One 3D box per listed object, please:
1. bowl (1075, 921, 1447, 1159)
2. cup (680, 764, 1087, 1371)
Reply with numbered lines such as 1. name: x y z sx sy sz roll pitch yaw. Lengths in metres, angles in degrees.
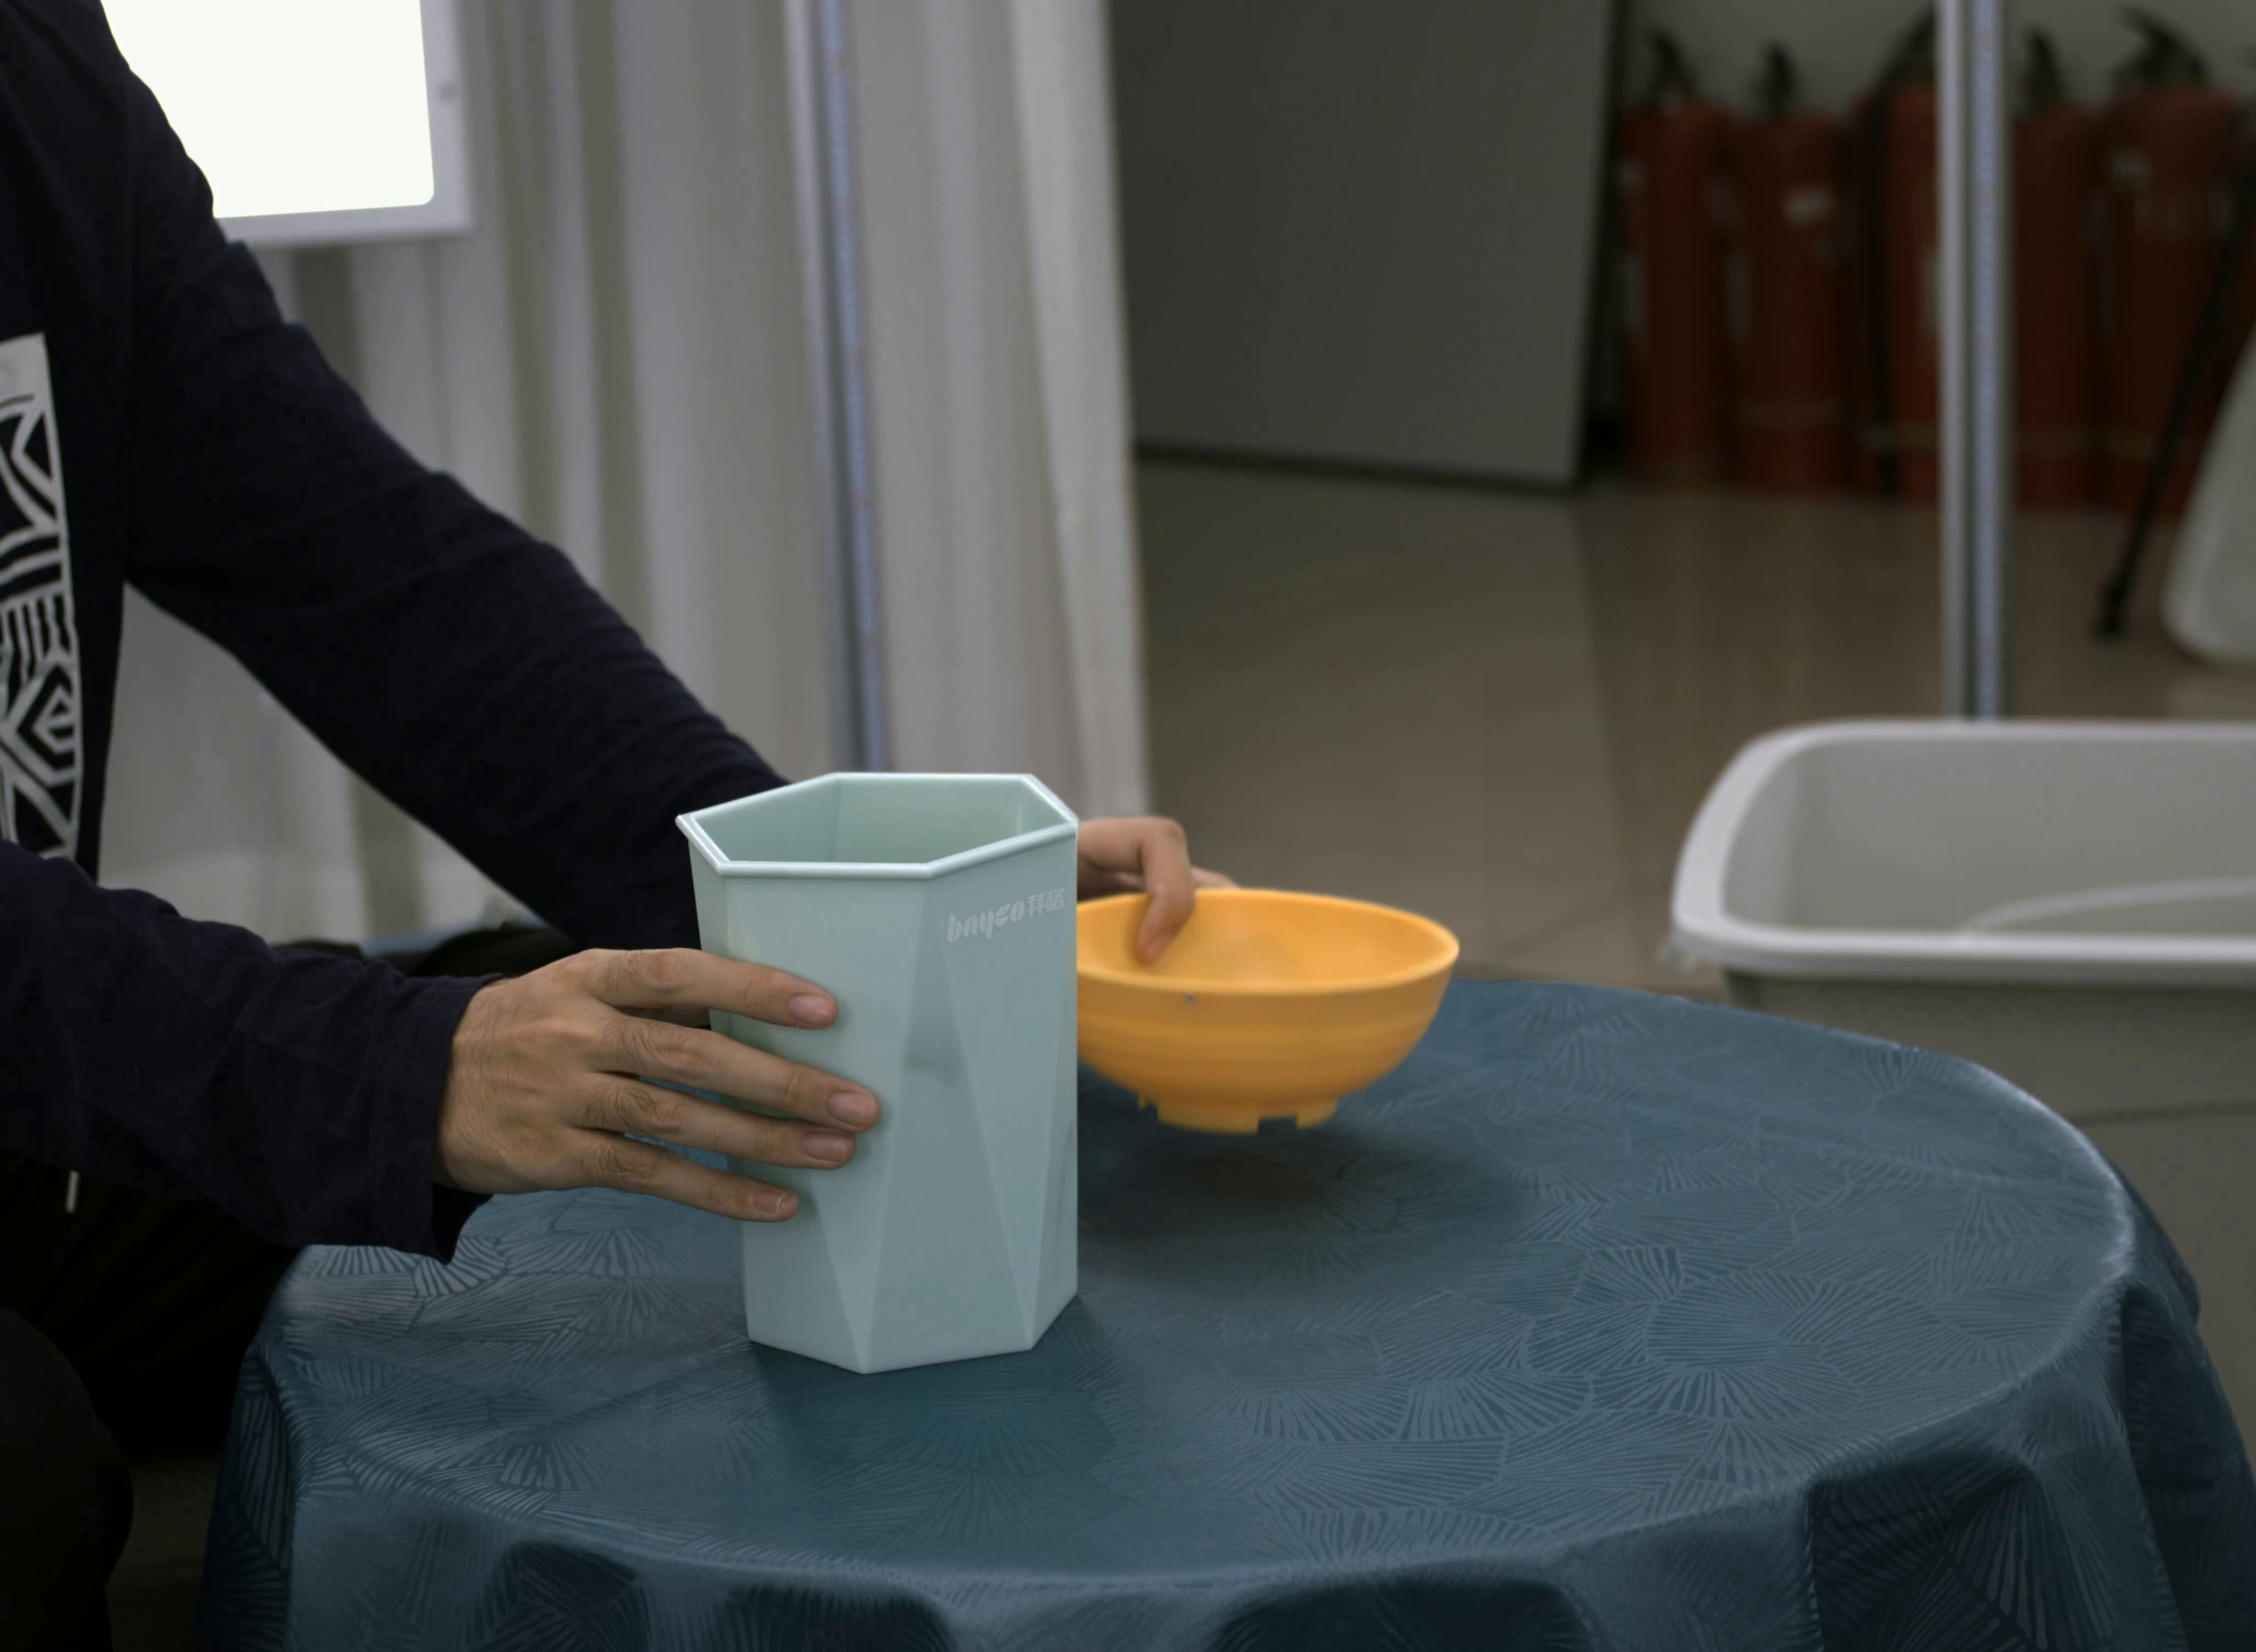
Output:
1. bowl: 0.034 0.073 1.782 0.143 0.061 0.145 -1 10 -1
2. cup: -0.069 0.072 1.647 0.116 0.165 0.128 8 17 44
